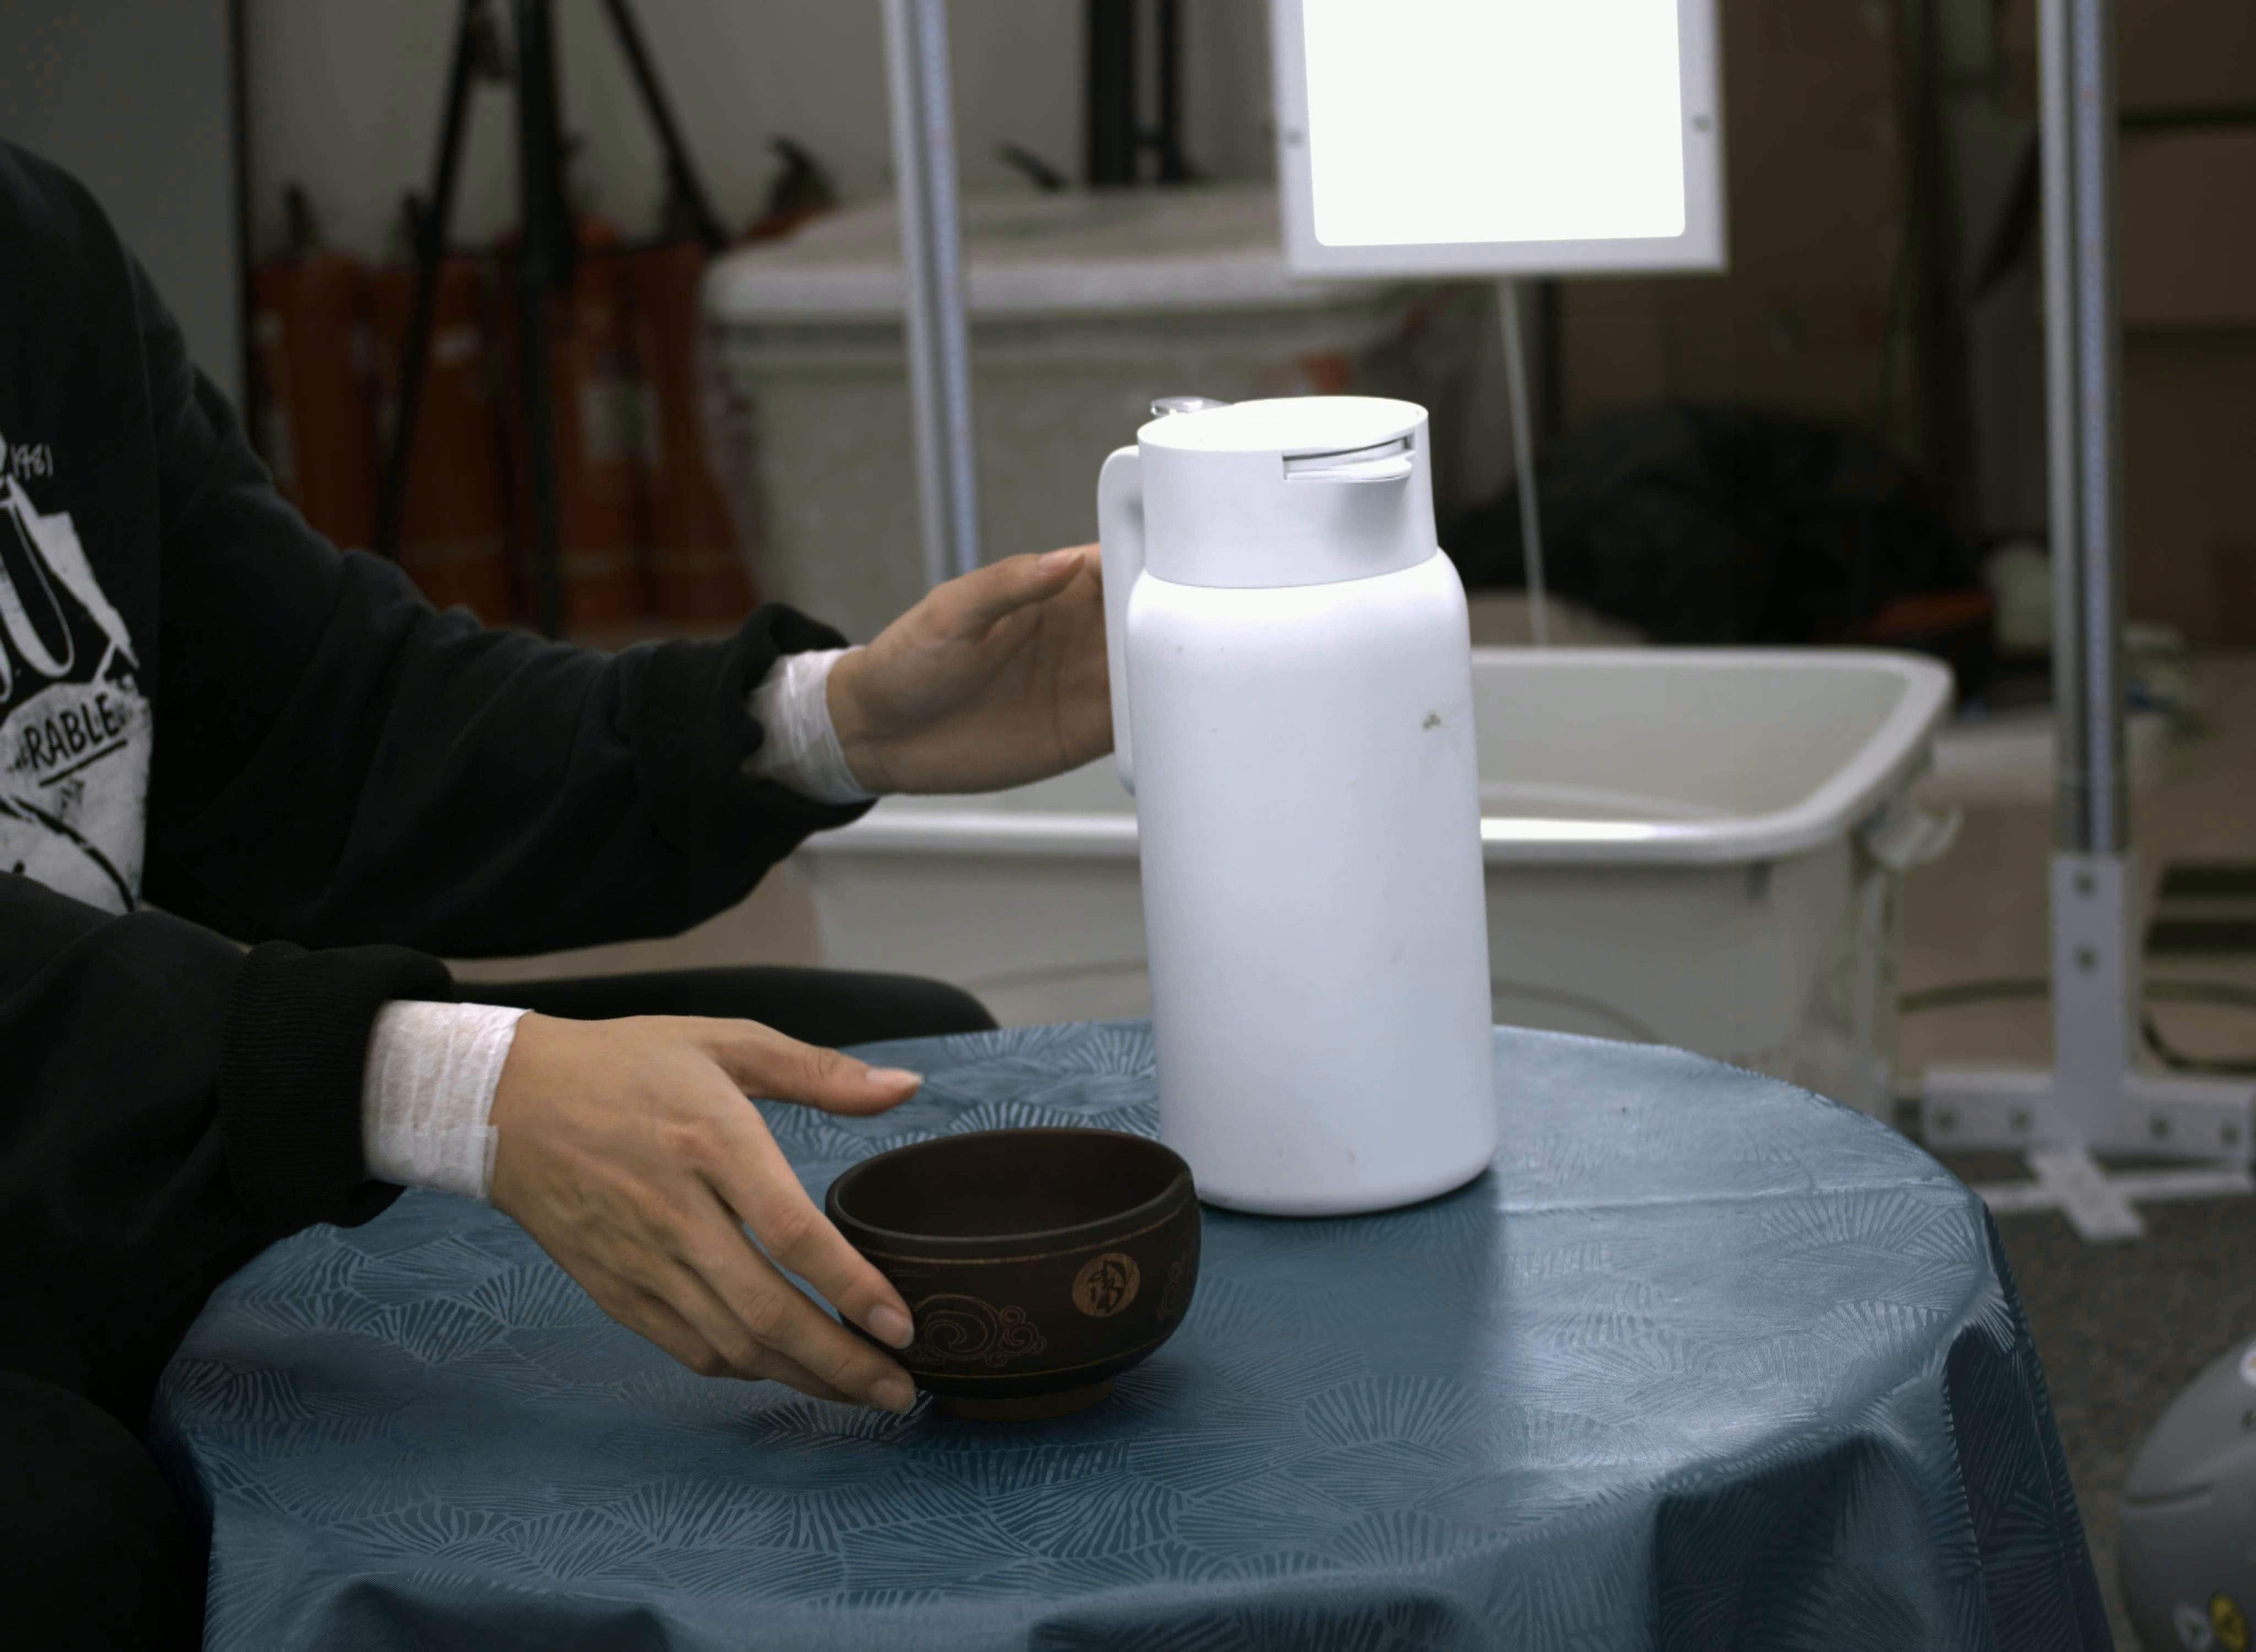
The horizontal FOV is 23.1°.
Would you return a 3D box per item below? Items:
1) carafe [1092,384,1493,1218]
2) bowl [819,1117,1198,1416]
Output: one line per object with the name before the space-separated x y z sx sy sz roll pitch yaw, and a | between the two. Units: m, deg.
carafe | 0.050 -0.011 1.881 0.121 0.270 0.176 -15 17 -29
bowl | -0.036 0.140 1.703 0.117 0.070 0.118 -4 15 0
